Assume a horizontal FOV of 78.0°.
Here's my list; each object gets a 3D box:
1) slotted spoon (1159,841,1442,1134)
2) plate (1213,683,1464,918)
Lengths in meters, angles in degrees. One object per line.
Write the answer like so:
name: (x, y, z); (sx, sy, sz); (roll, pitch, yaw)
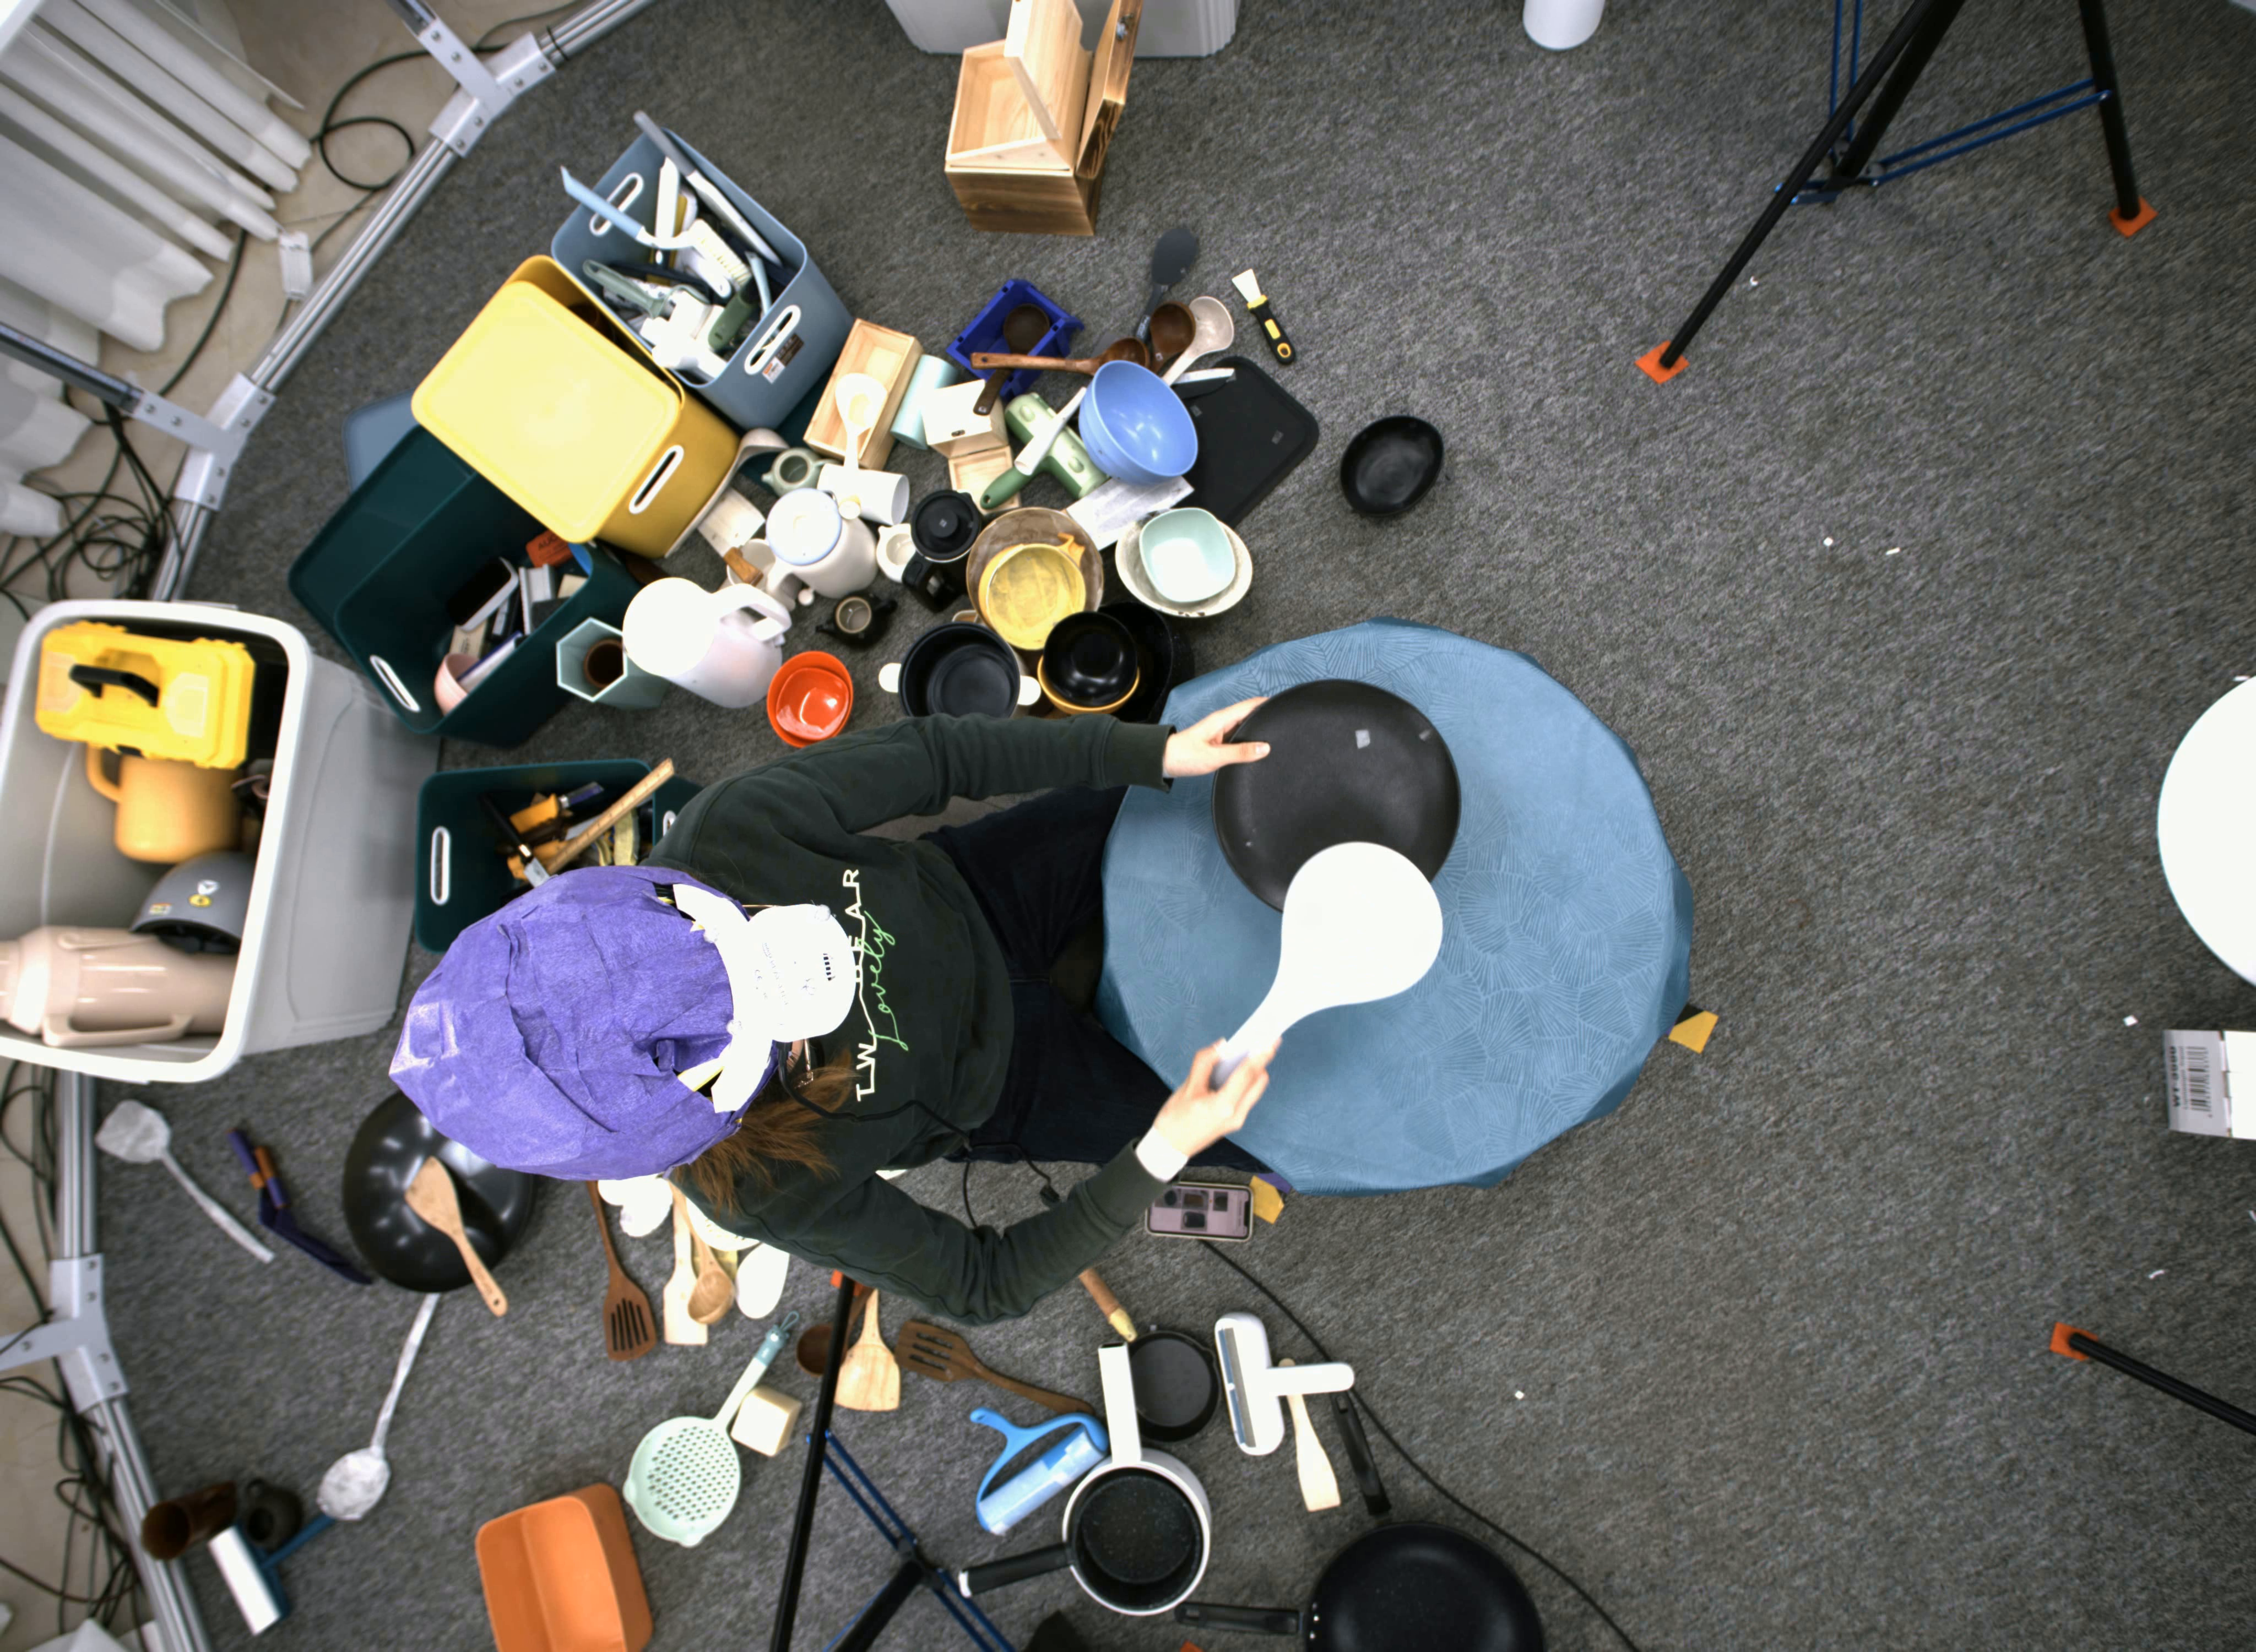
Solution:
slotted spoon: (0.145, 0.157, 1.270); (0.136, 0.045, 0.354); (41, 106, 4)
plate: (0.207, -0.021, 1.361); (0.245, 0.023, 0.246); (2, 102, 8)
